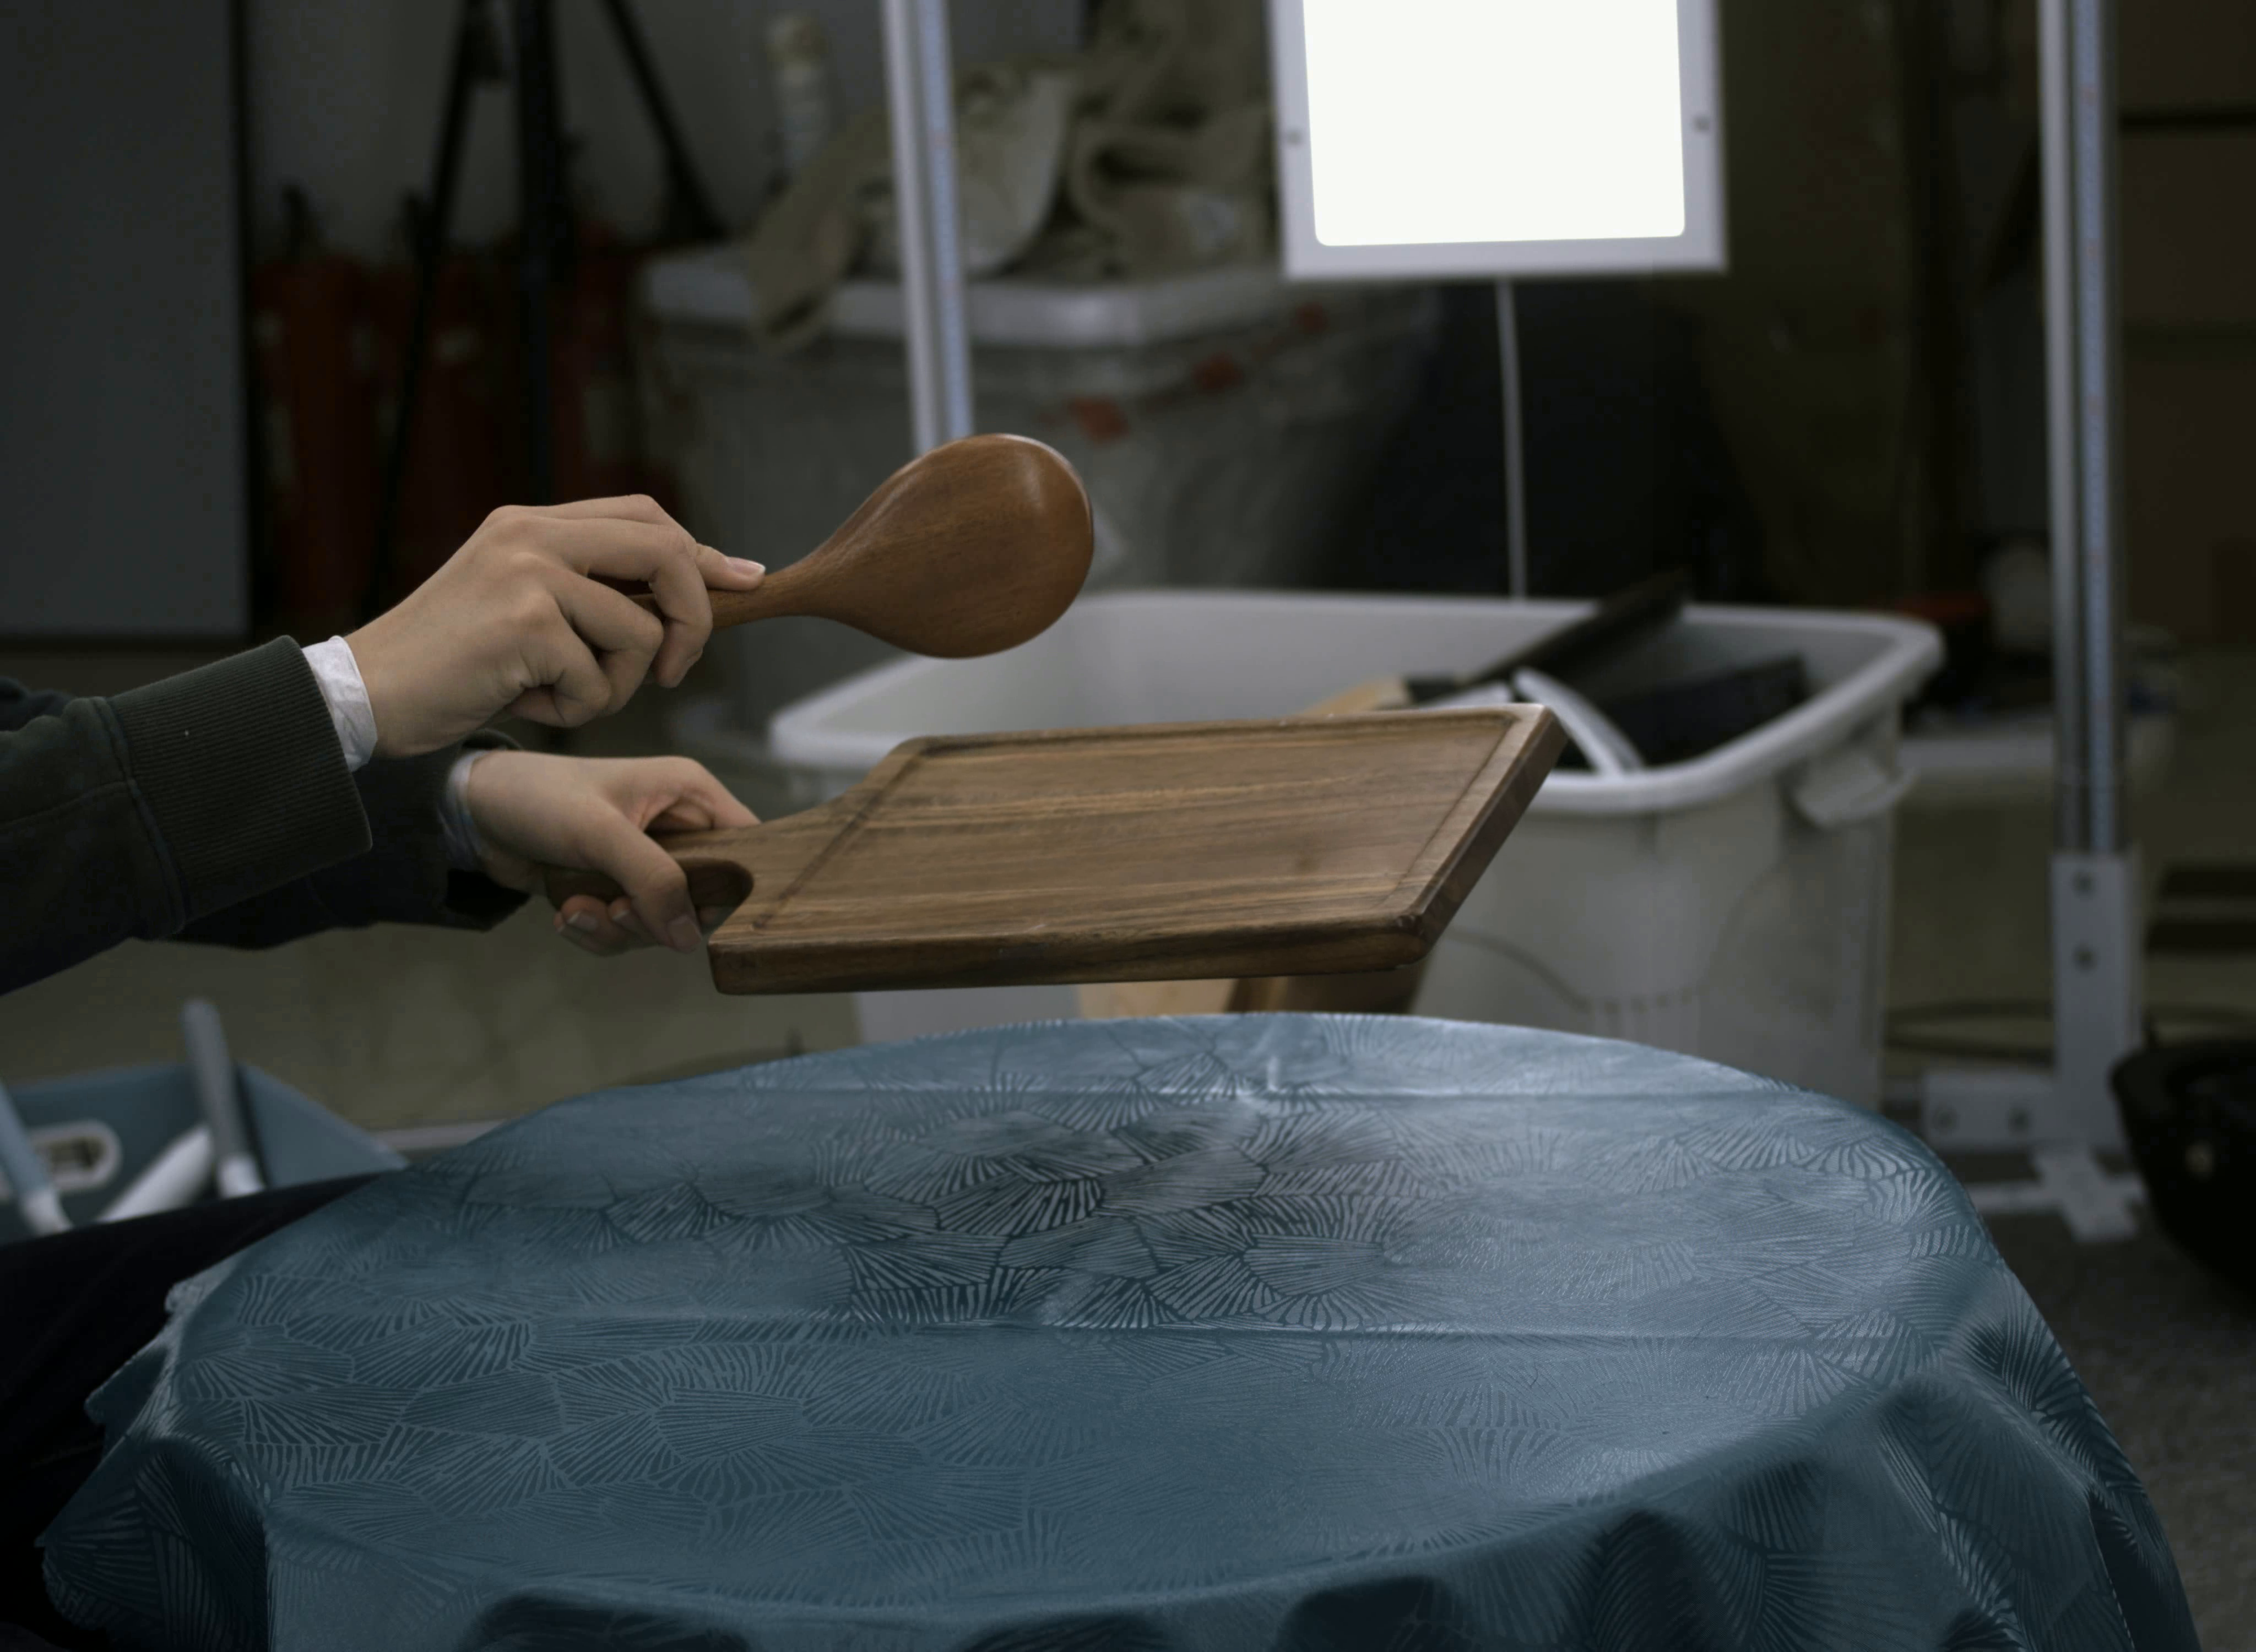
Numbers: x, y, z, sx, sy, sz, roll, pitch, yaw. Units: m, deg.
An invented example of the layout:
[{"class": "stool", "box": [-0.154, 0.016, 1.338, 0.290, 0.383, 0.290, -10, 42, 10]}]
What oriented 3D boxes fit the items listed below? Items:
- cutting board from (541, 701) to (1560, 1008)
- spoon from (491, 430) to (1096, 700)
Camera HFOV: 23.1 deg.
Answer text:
[{"class": "cutting board", "box": [-0.040, 0.011, 1.888, 0.357, 0.023, 0.197, -3, 22, 23]}, {"class": "spoon", "box": [-0.102, -0.075, 1.761, 0.212, 0.076, 0.017, -16, 27, -22]}]
